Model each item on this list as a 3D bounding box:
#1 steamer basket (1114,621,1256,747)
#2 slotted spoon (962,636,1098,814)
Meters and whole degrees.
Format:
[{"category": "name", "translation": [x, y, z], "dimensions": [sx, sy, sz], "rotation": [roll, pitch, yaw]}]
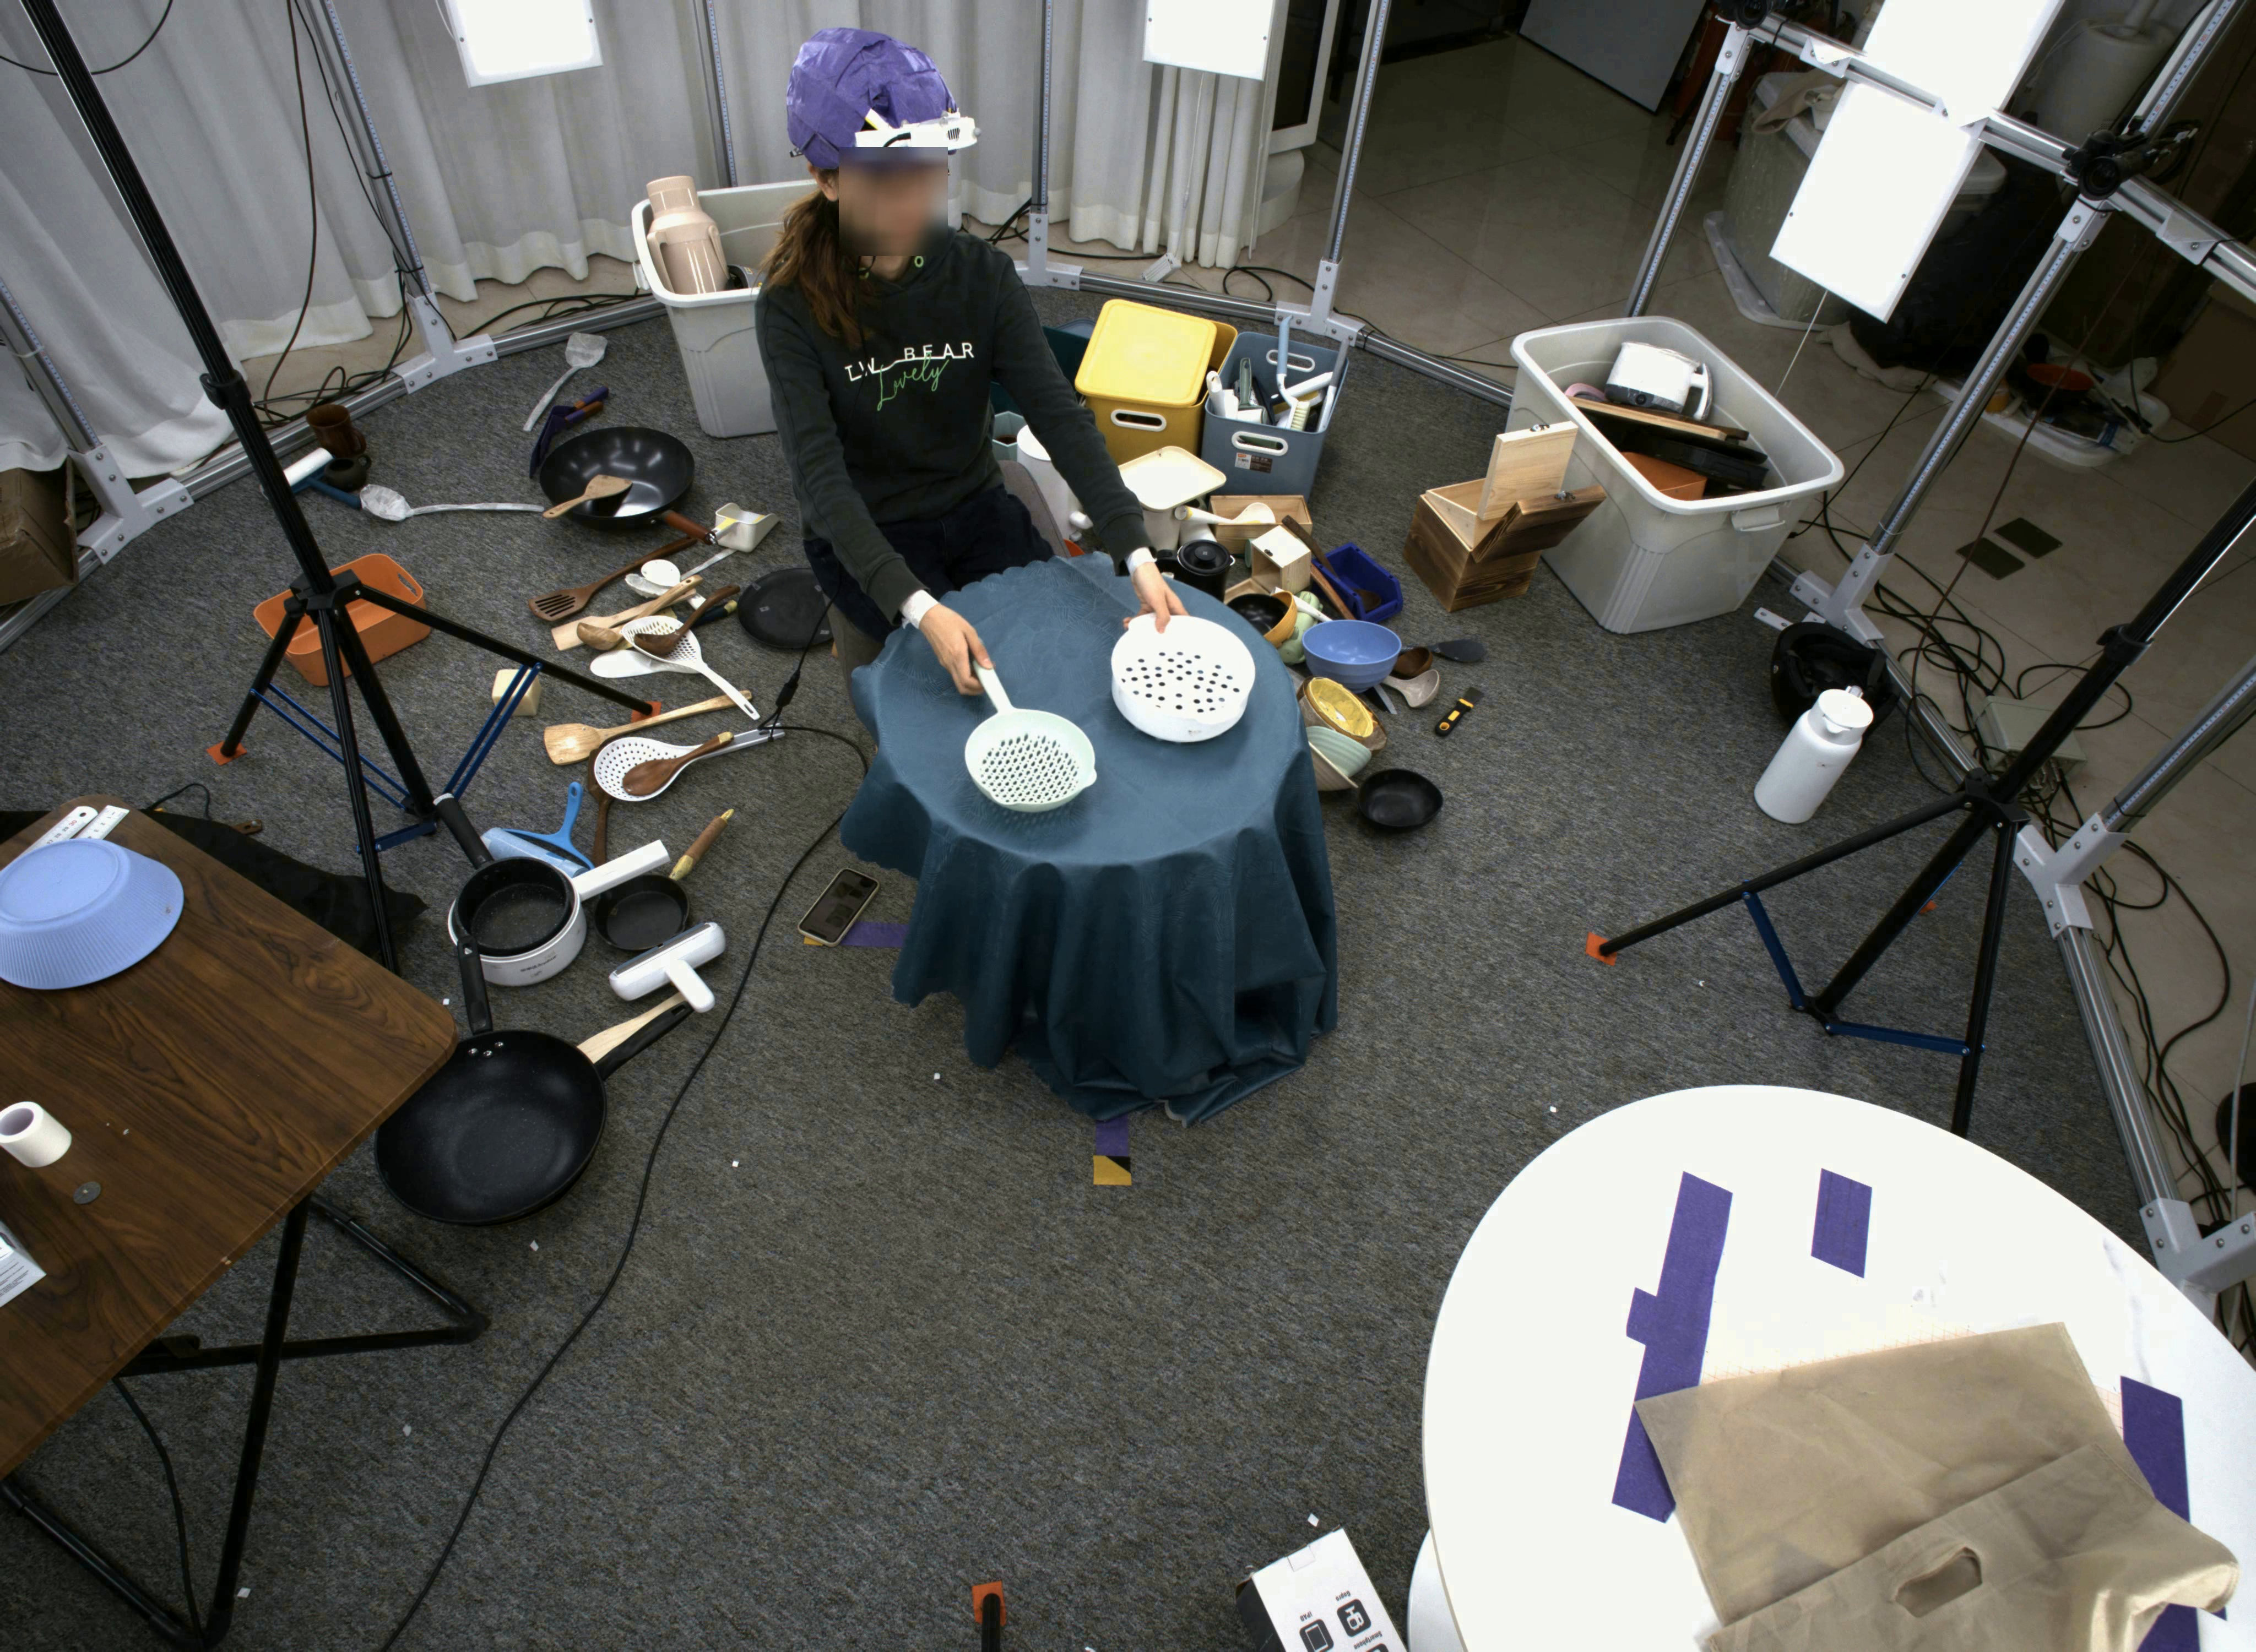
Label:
[{"category": "steamer basket", "translation": [0.079, -0.199, 1.823], "dimensions": [0.202, 0.067, 0.235], "rotation": [-19, 52, -22]}, {"category": "slotted spoon", "translation": [-0.165, -0.152, 1.751], "dimensions": [0.169, 0.073, 0.367], "rotation": [-13, 57, -19]}]
